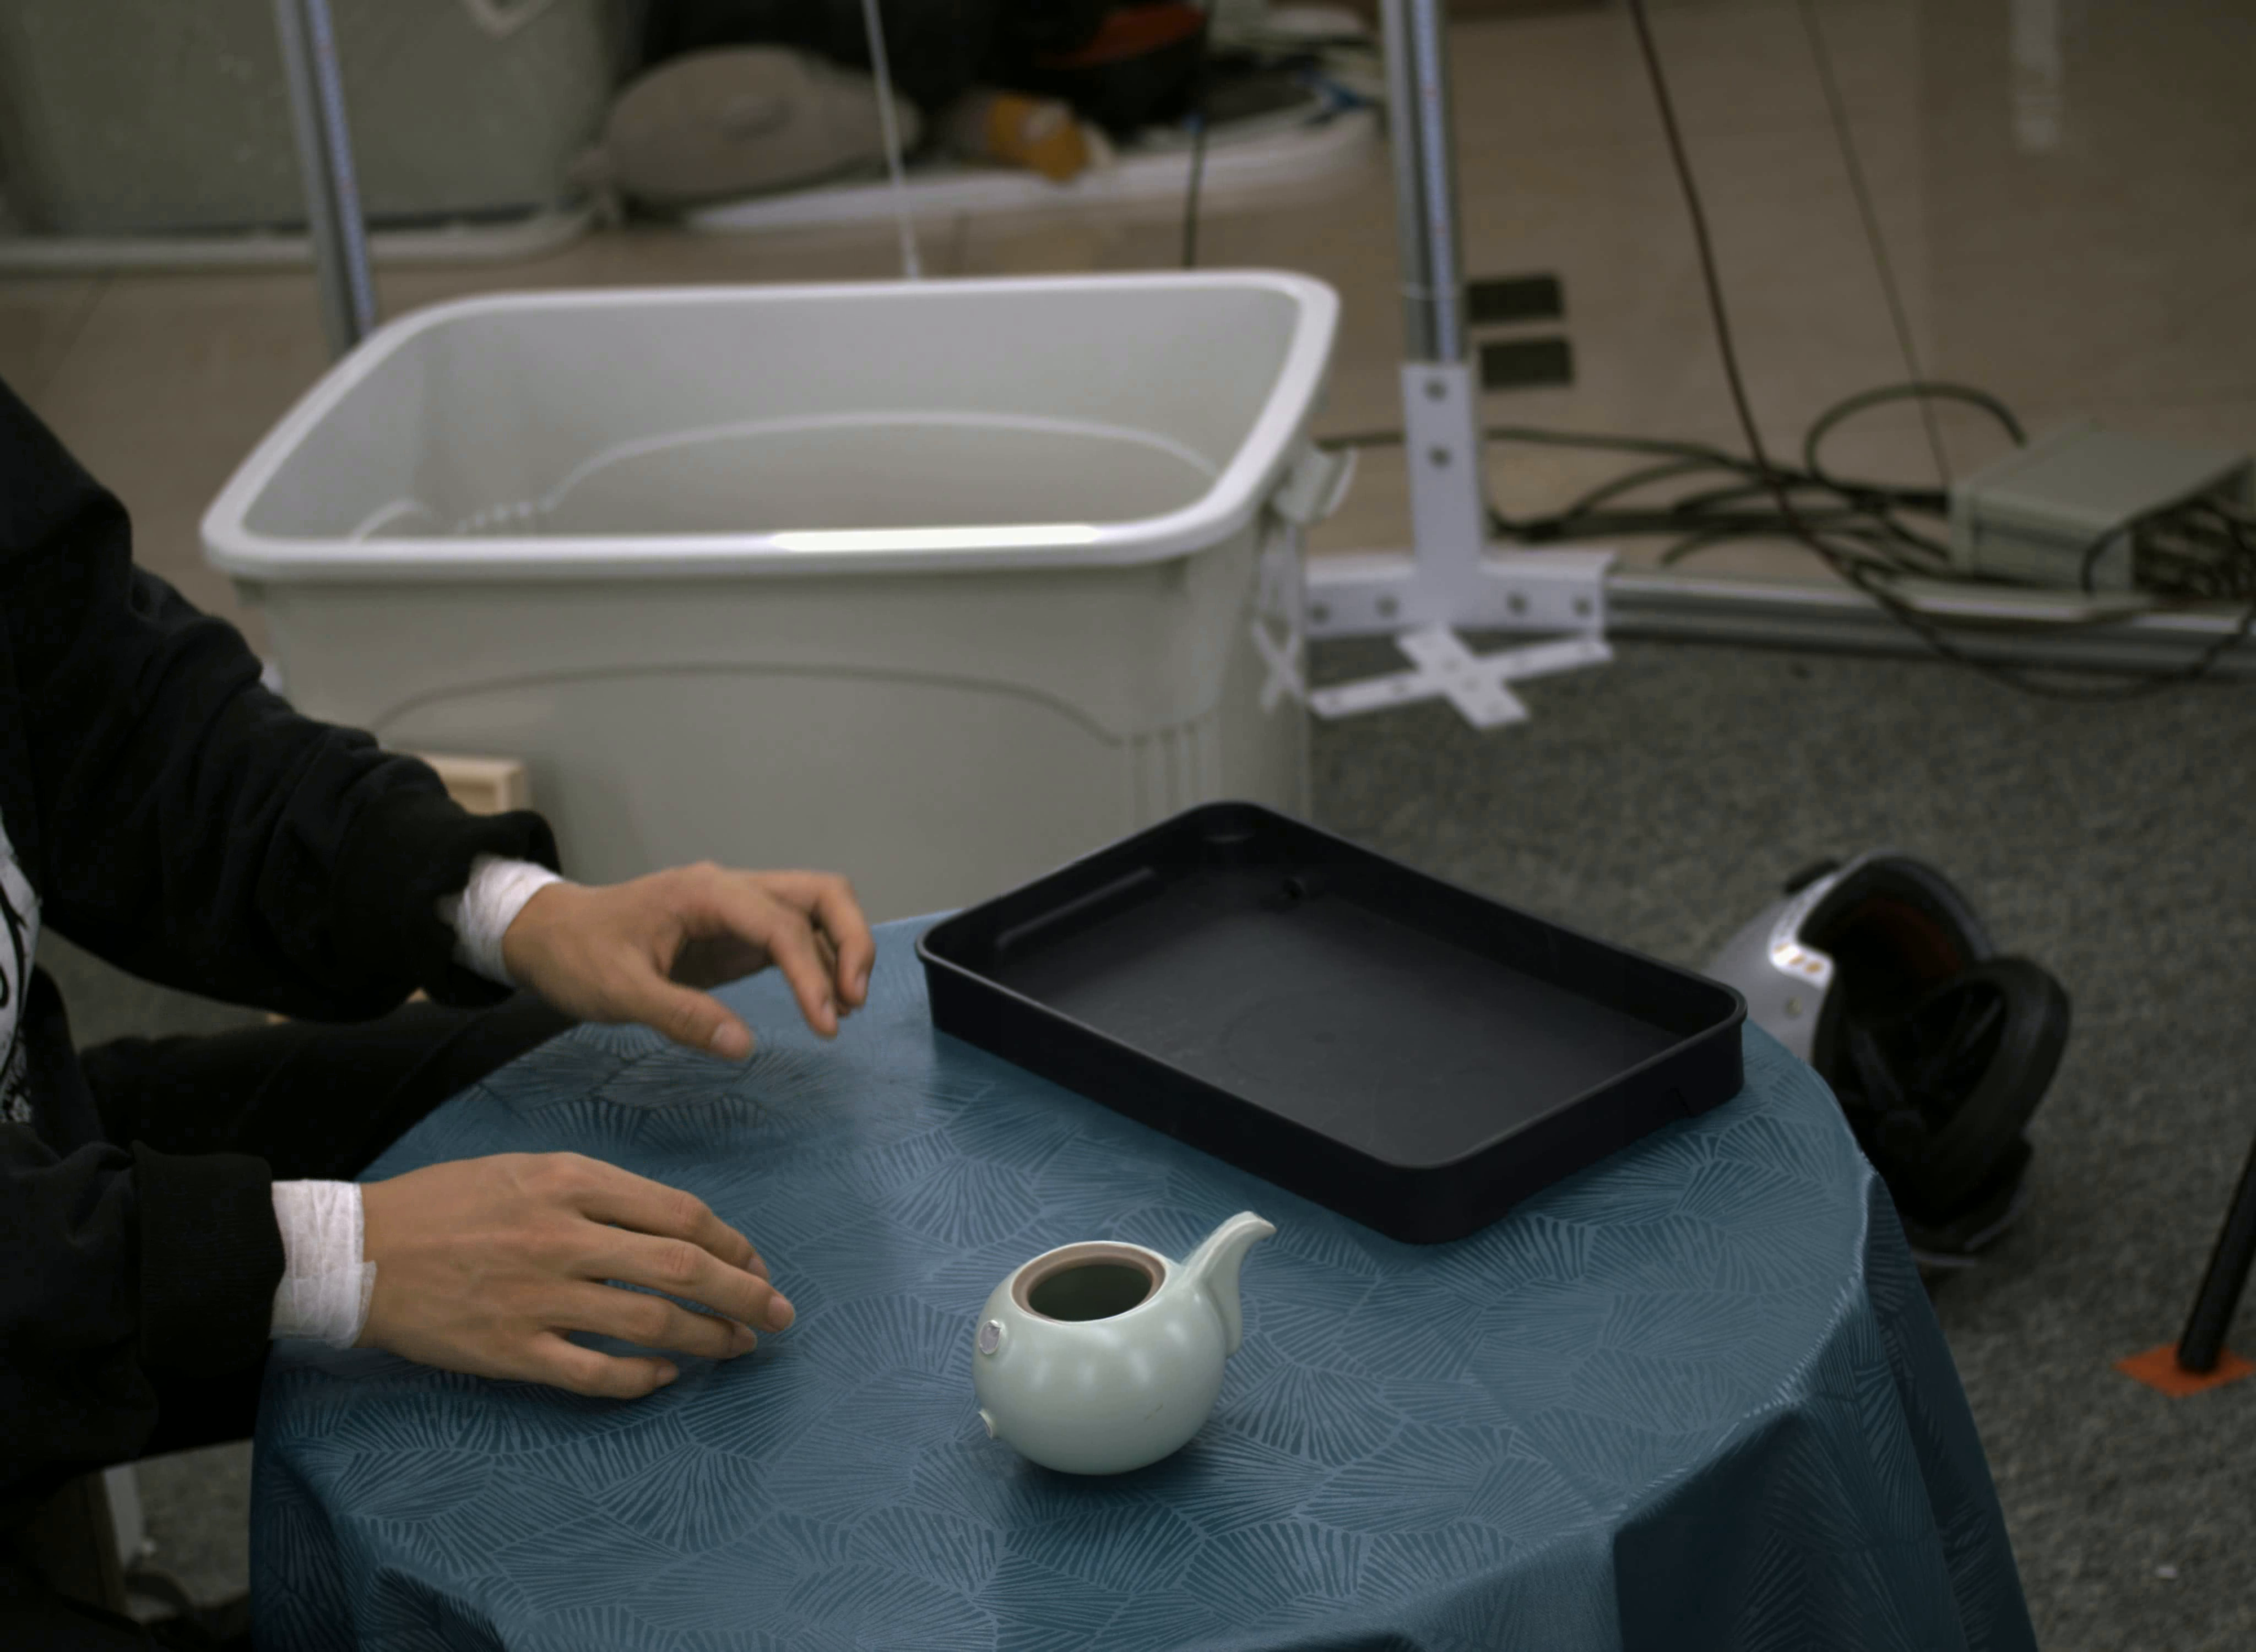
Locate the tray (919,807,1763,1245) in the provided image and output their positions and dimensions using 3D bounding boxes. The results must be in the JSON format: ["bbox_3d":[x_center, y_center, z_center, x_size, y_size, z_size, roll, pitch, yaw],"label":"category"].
[{"bbox_3d":[0.081,0.074,2.228,0.183,0.037,0.315,-25,30,-35],"label":"tray"}]

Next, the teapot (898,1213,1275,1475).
[{"bbox_3d":[-0.012,0.184,1.970,0.143,0.076,0.087,-14,26,-19],"label":"teapot"}]
